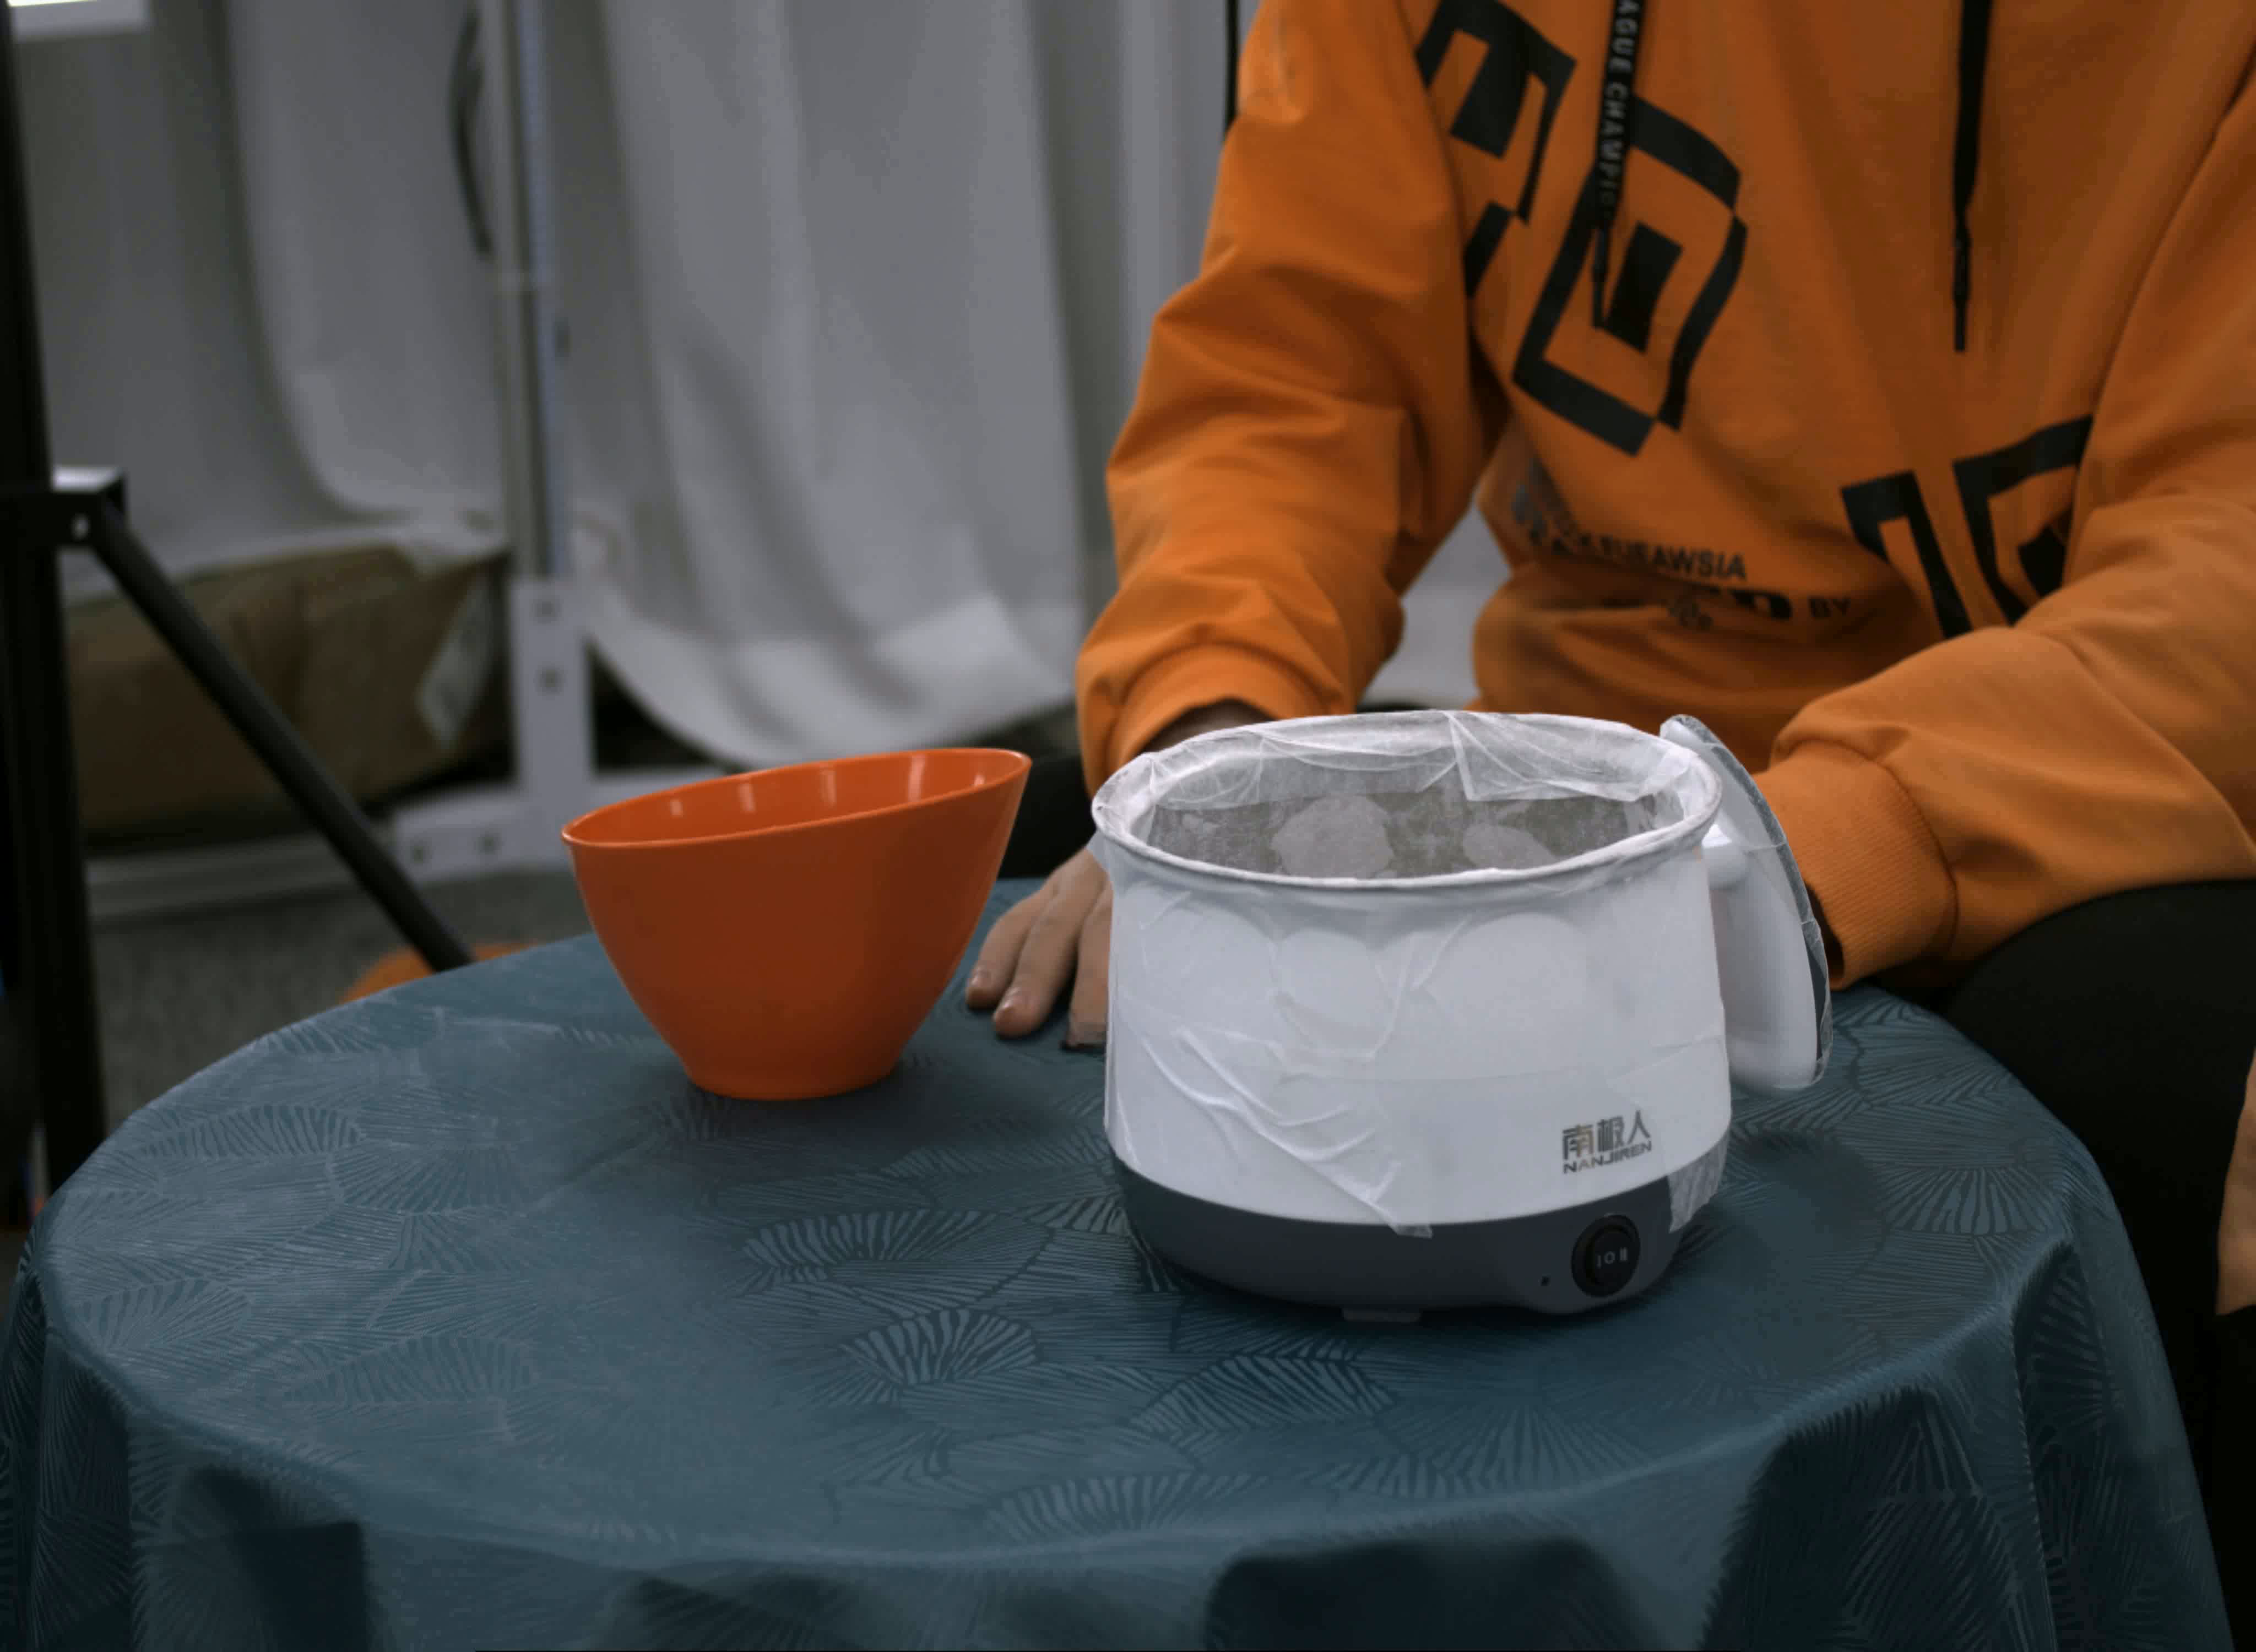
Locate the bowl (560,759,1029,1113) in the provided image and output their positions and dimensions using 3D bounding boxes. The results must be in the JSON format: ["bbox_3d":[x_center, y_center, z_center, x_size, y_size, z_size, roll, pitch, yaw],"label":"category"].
[{"bbox_3d":[-0.102,0.033,1.664,0.147,0.104,0.149,-4,14,0],"label":"bowl"}]

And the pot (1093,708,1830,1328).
[{"bbox_3d":[0.103,0.047,1.506,0.228,0.136,0.183,-13,19,-32],"label":"pot"}]
